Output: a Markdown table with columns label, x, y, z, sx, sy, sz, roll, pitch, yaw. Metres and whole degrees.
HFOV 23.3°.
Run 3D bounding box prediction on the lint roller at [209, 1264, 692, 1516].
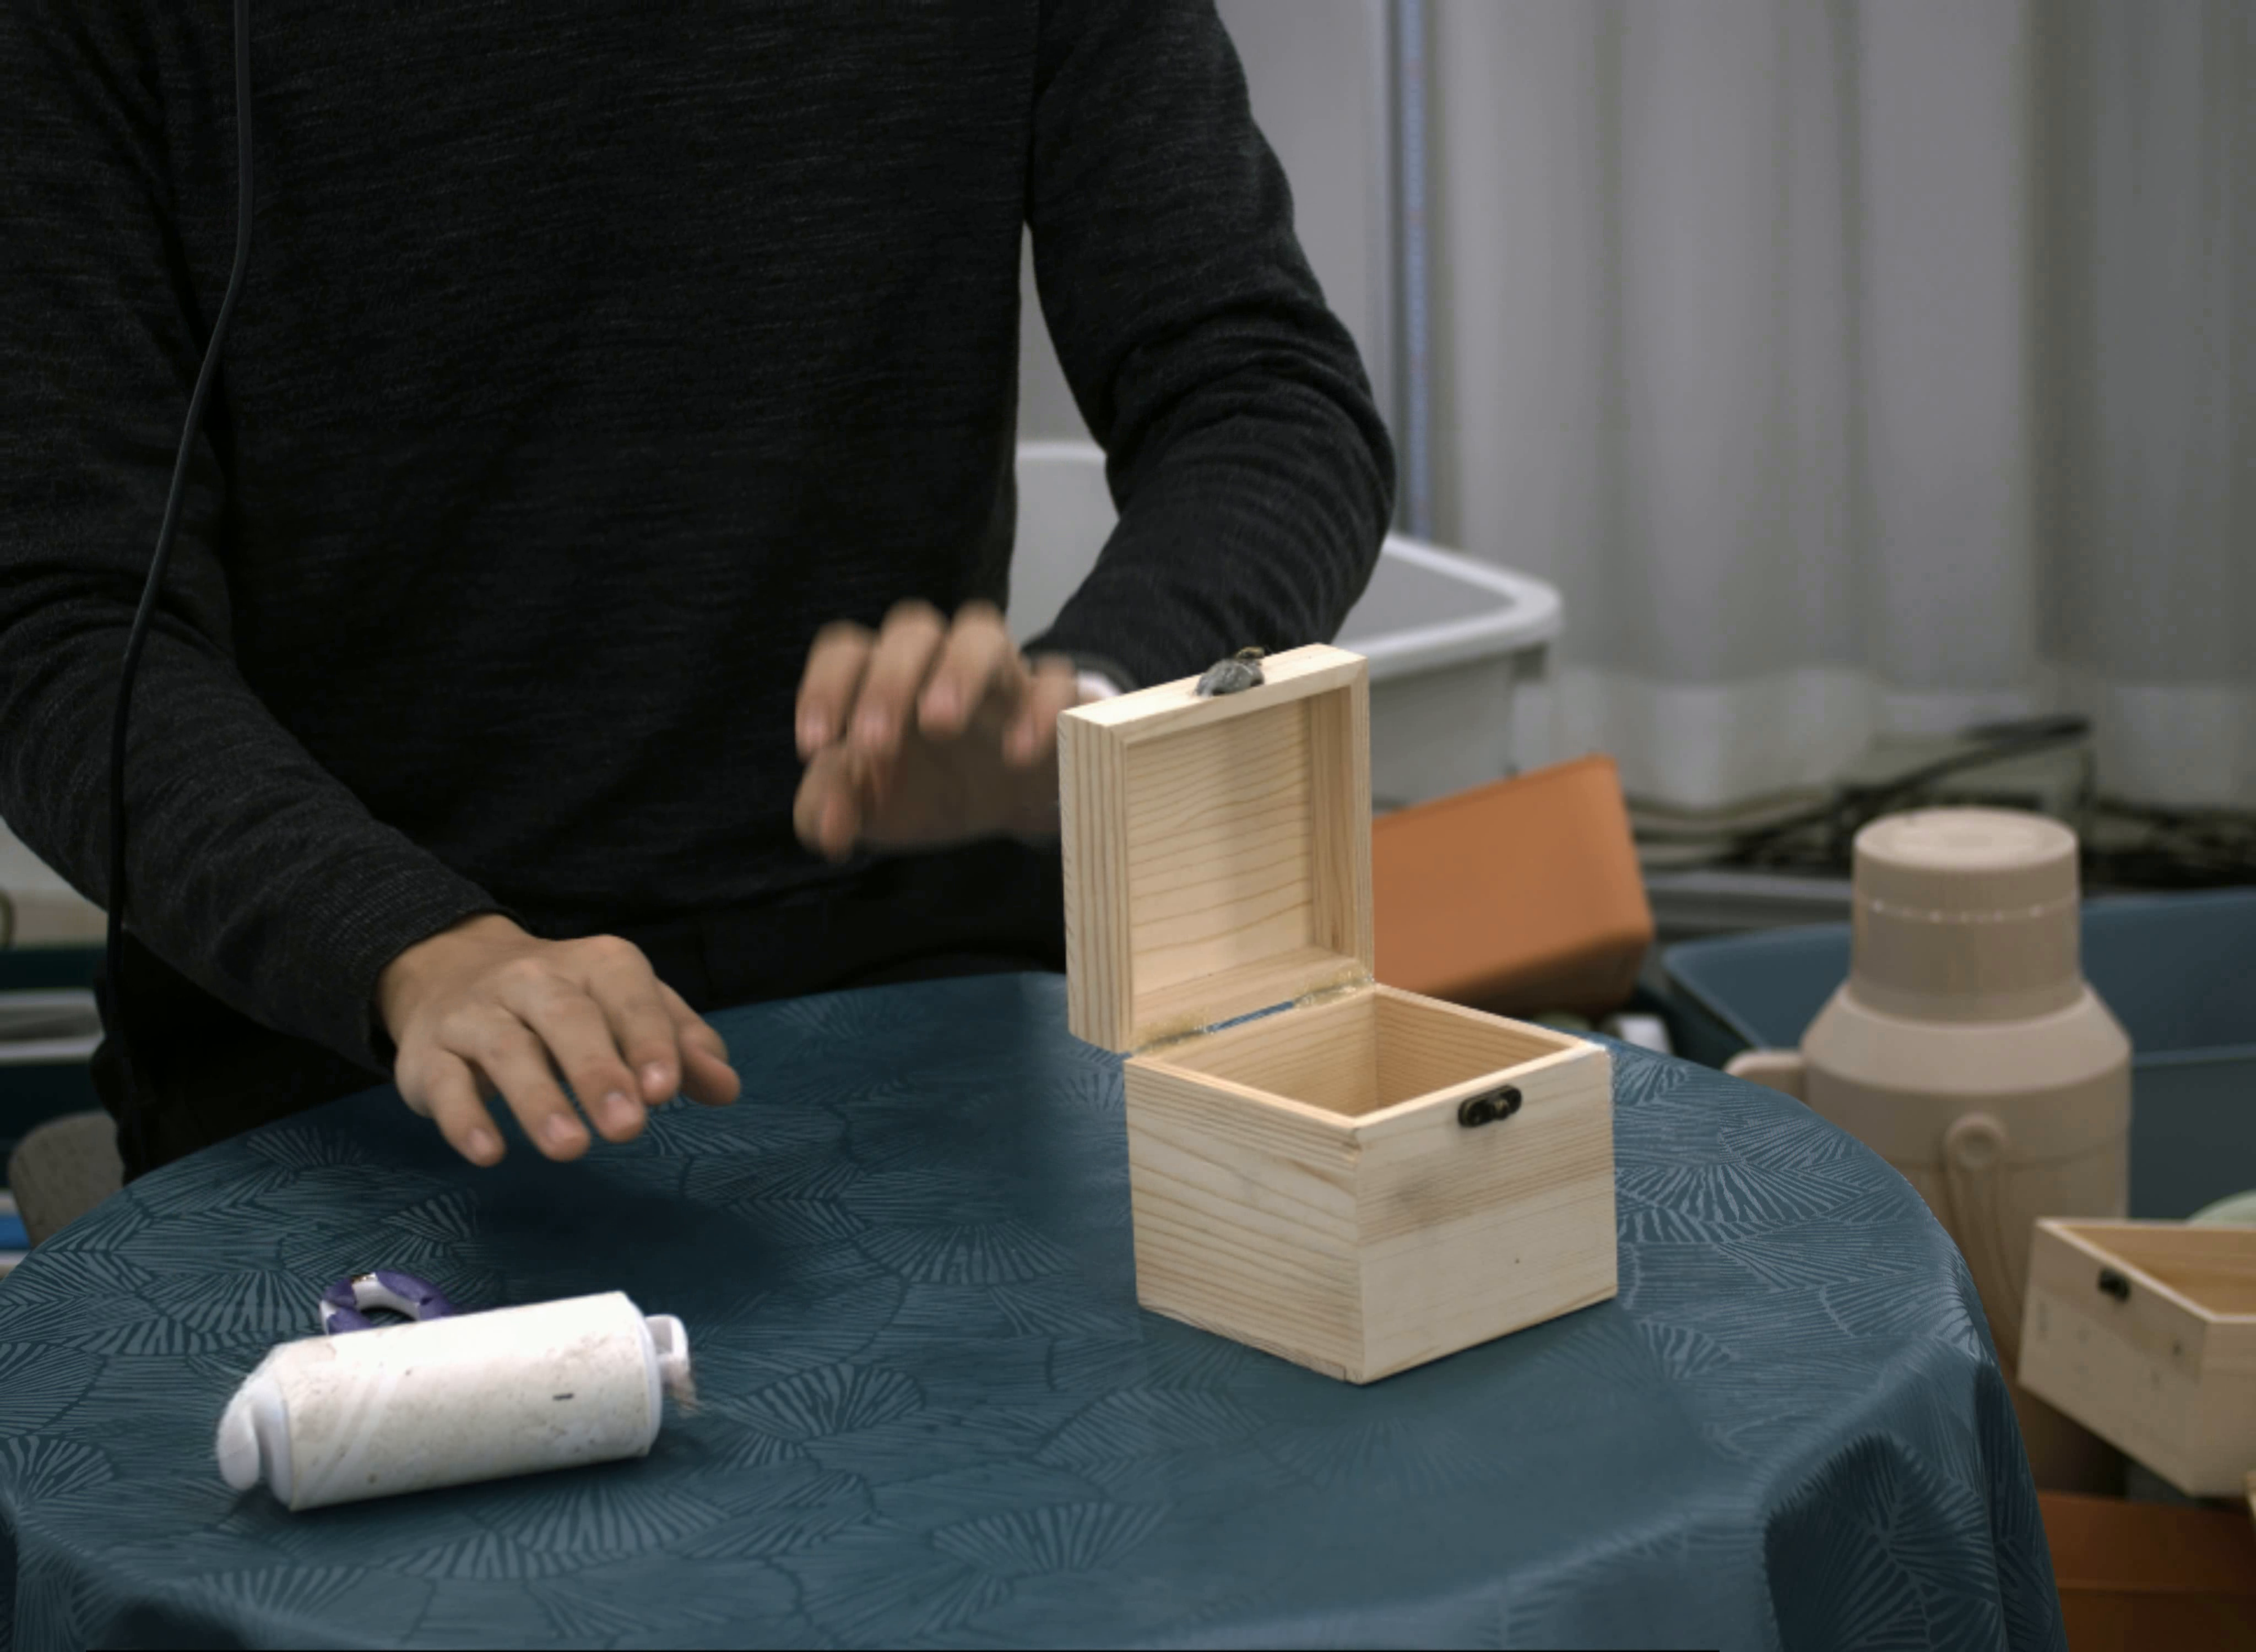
| label | x | y | z | sx | sy | sz | roll | pitch | yaw |
| --- | --- | --- | --- | --- | --- | --- | --- | --- | --- |
| lint roller | -0.203 | 0.142 | 1.560 | 0.132 | 0.050 | 0.182 | -8 | 18 | -14 |

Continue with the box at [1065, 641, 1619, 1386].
| label | x | y | z | sx | sy | sz | roll | pitch | yaw |
| --- | --- | --- | --- | --- | --- | --- | --- | --- | --- |
| box | 0.063 | 0.050 | 1.589 | 0.102 | 0.184 | 0.135 | -14 | 17 | -37 |
